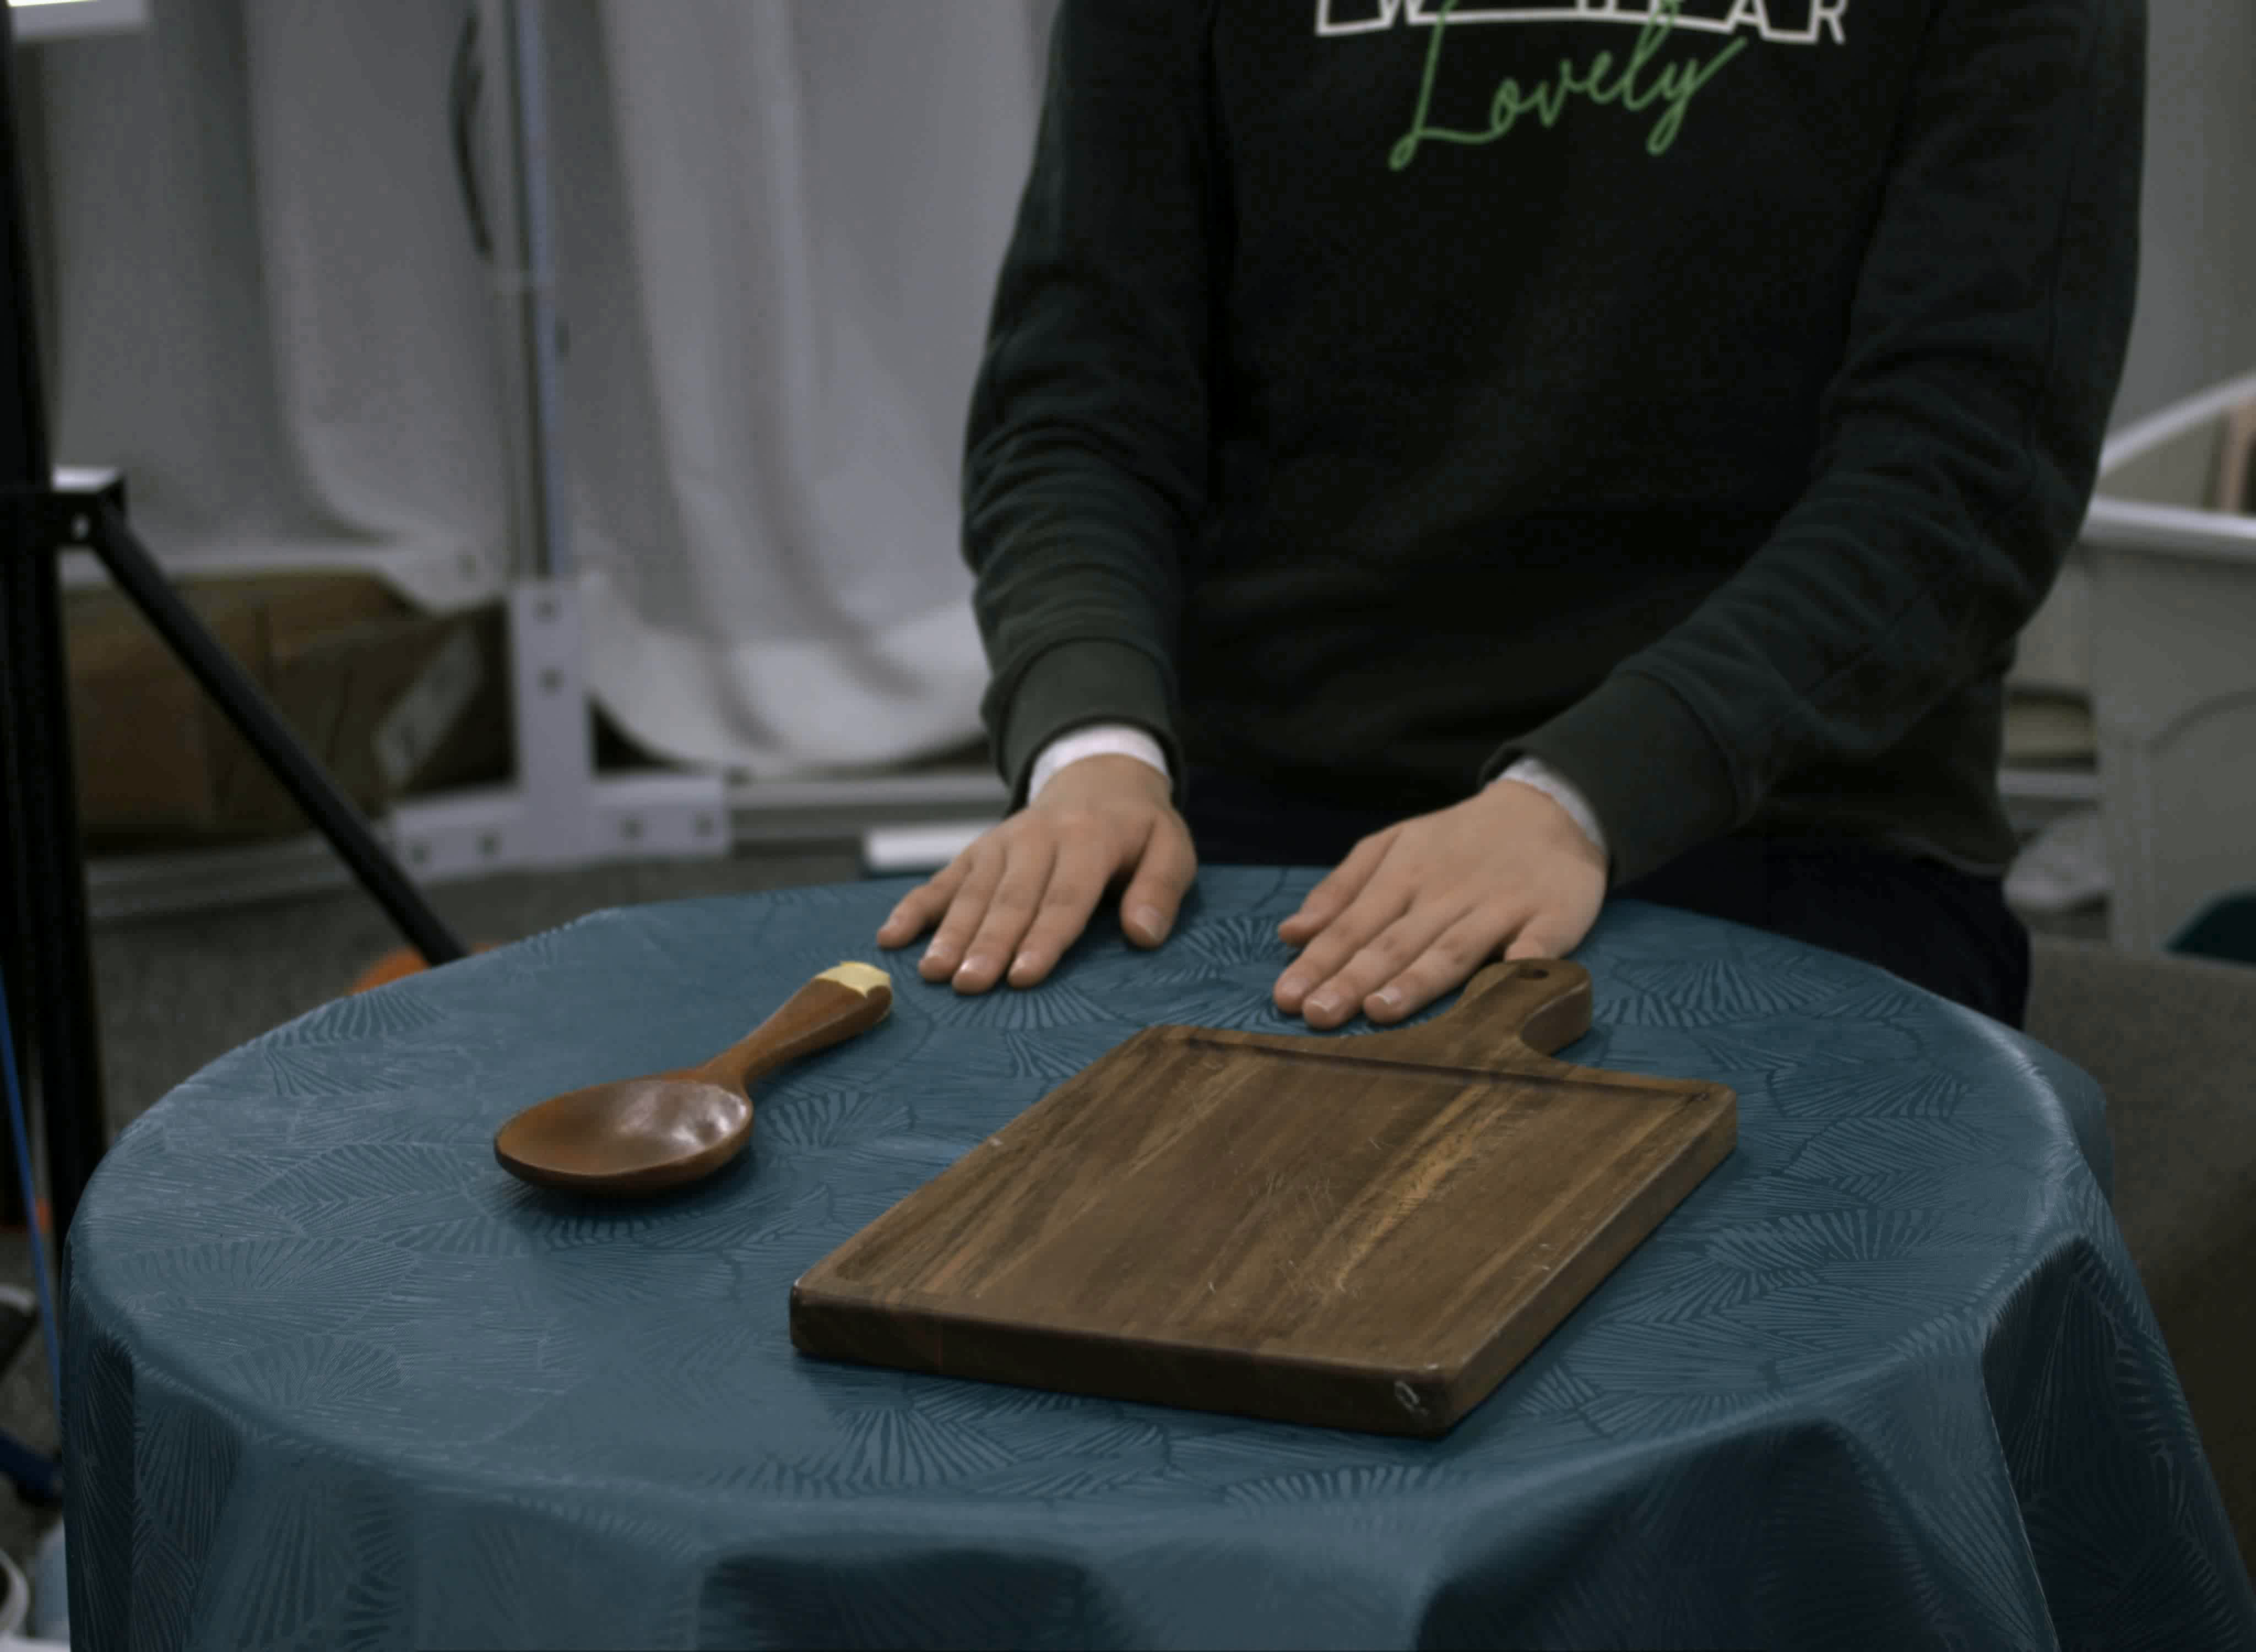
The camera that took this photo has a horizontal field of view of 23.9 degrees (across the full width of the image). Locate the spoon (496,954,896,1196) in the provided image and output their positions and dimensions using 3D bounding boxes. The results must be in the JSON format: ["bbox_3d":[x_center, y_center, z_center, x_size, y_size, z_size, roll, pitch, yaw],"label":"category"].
[{"bbox_3d":[-0.124,0.078,1.650,0.076,0.017,0.213,2,17,24],"label":"spoon"}]

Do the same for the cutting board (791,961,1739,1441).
[{"bbox_3d":[0.065,0.099,1.548,0.204,0.023,0.347,4,17,25],"label":"cutting board"}]
